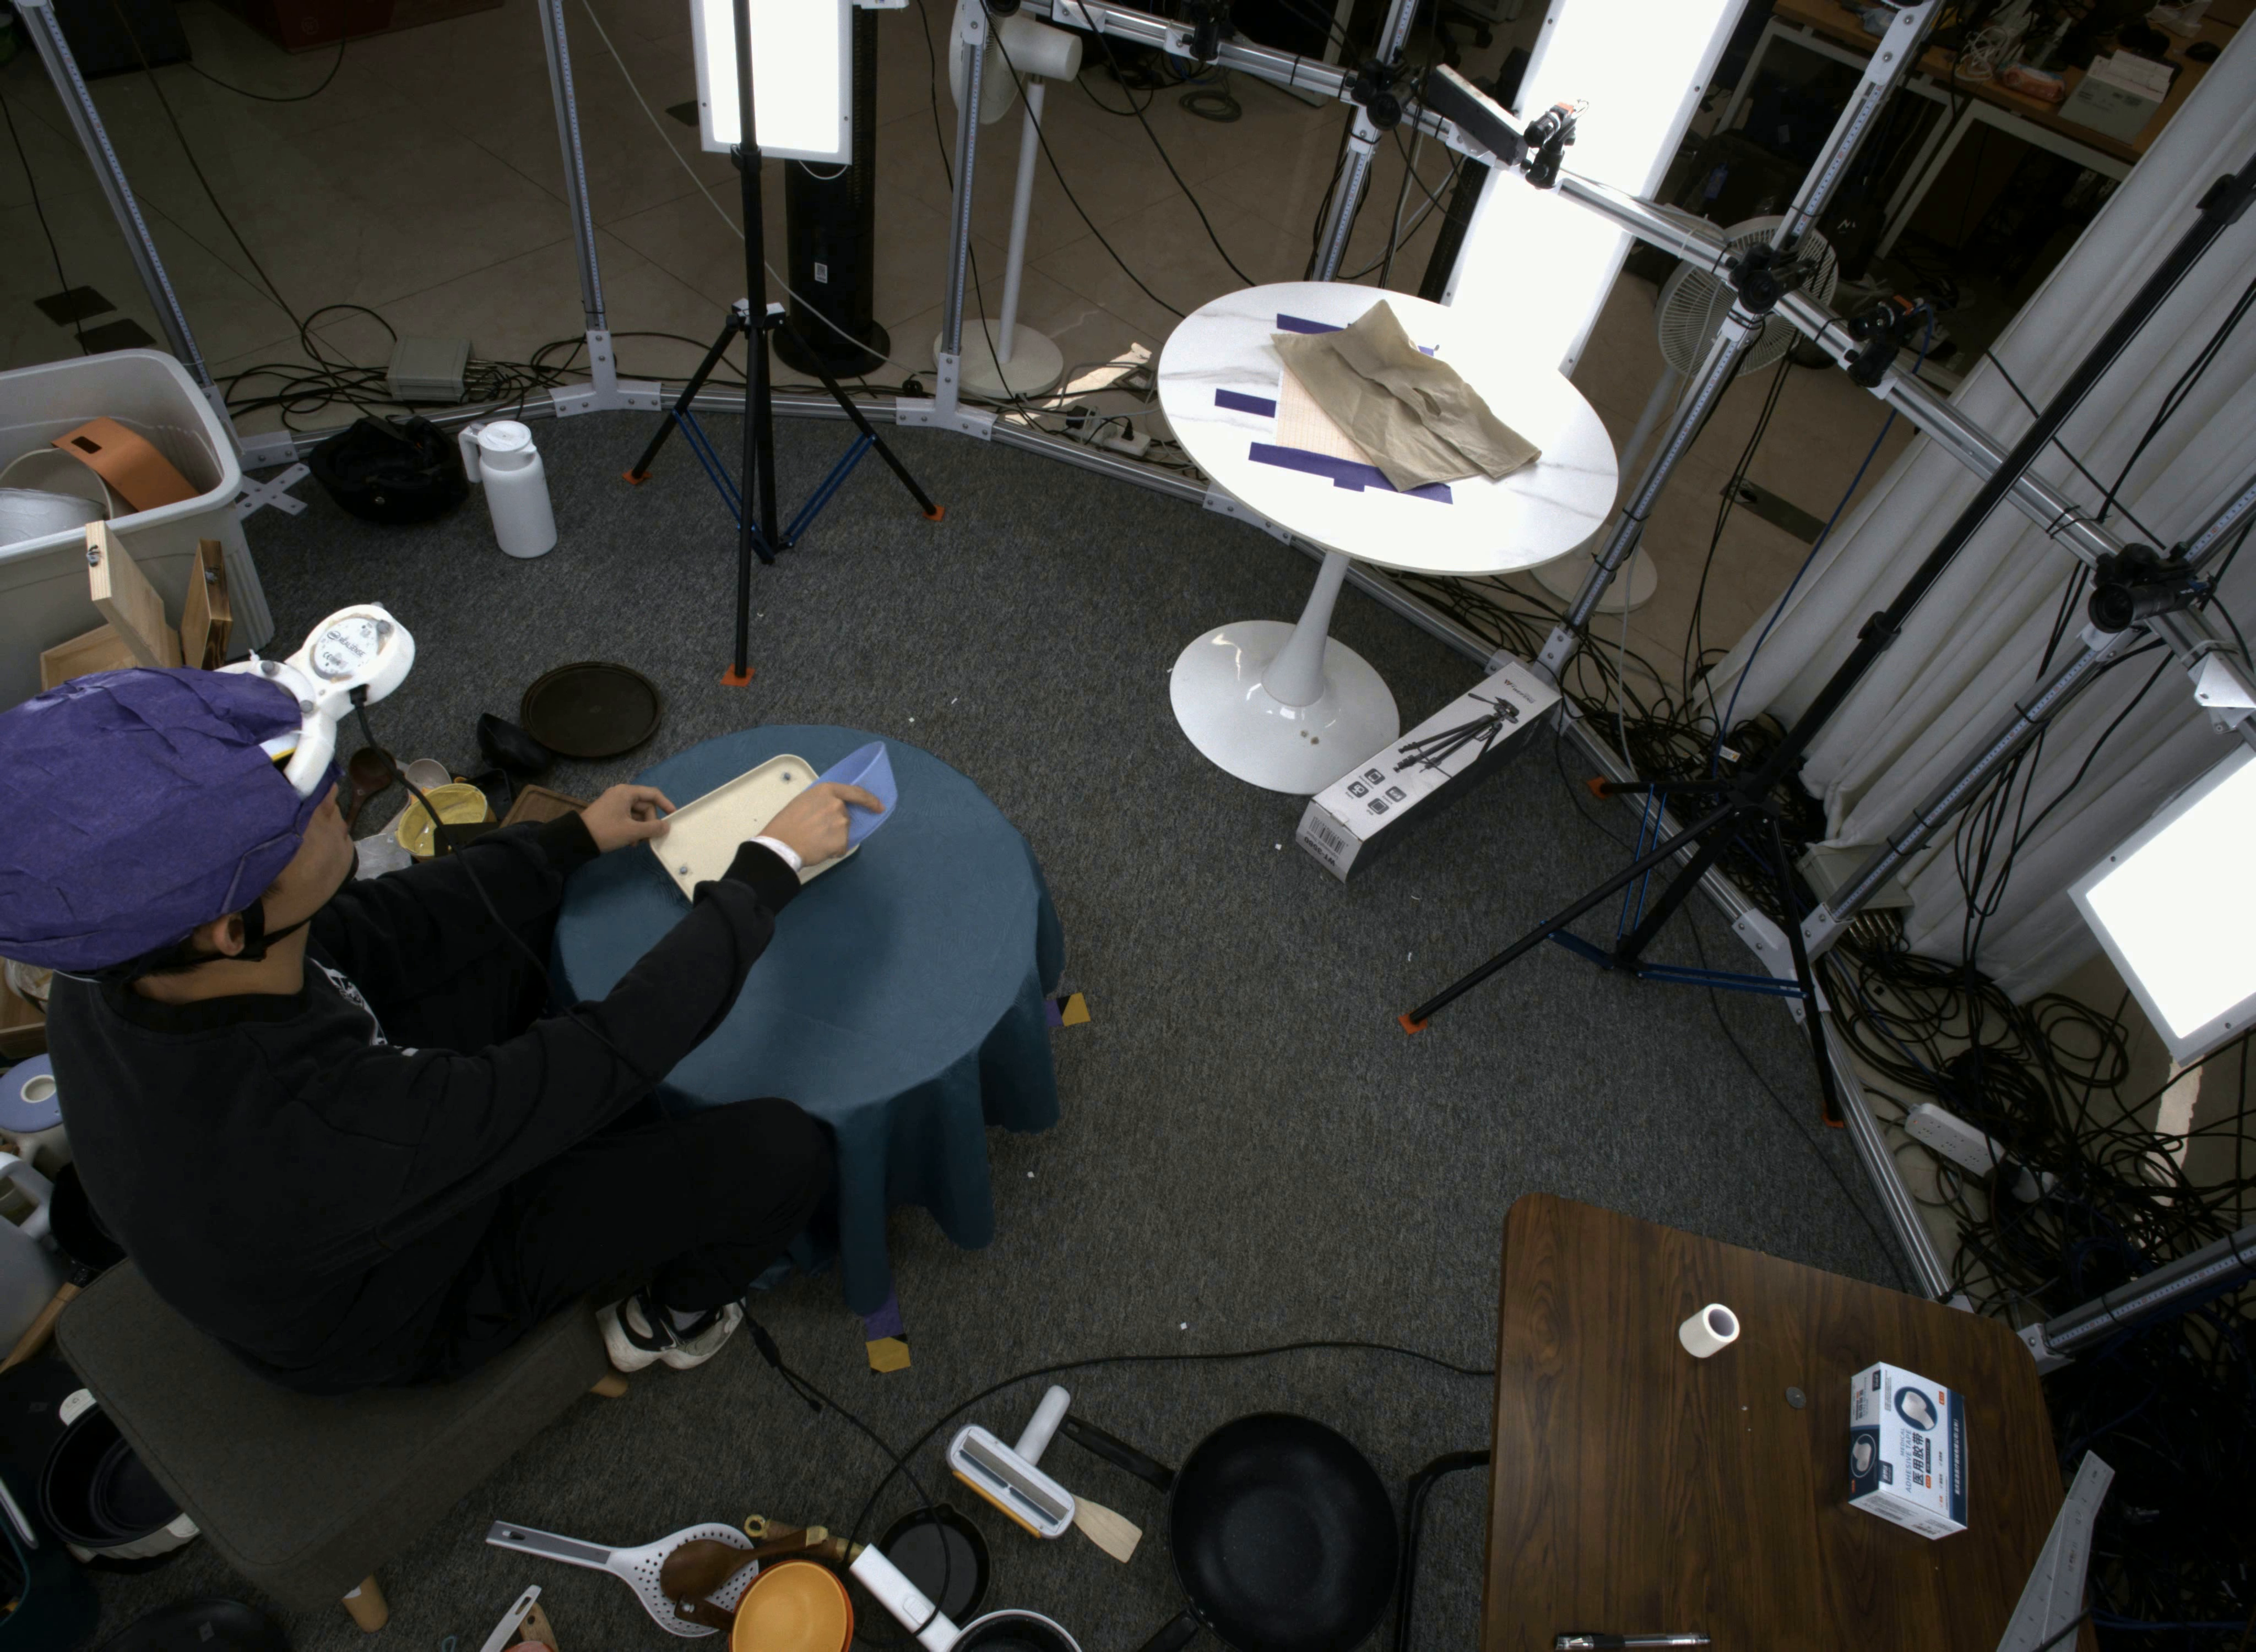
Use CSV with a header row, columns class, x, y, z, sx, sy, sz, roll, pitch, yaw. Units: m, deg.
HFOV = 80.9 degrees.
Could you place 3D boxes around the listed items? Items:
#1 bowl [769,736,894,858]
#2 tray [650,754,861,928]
class,x,y,z,sx,sy,sz,roll,pitch,yaw
bowl,-0.348,-0.026,1.575,0.072,0.172,0.175,50,50,-18
tray,-0.479,0.016,1.671,0.240,0.017,0.170,-35,82,-33
